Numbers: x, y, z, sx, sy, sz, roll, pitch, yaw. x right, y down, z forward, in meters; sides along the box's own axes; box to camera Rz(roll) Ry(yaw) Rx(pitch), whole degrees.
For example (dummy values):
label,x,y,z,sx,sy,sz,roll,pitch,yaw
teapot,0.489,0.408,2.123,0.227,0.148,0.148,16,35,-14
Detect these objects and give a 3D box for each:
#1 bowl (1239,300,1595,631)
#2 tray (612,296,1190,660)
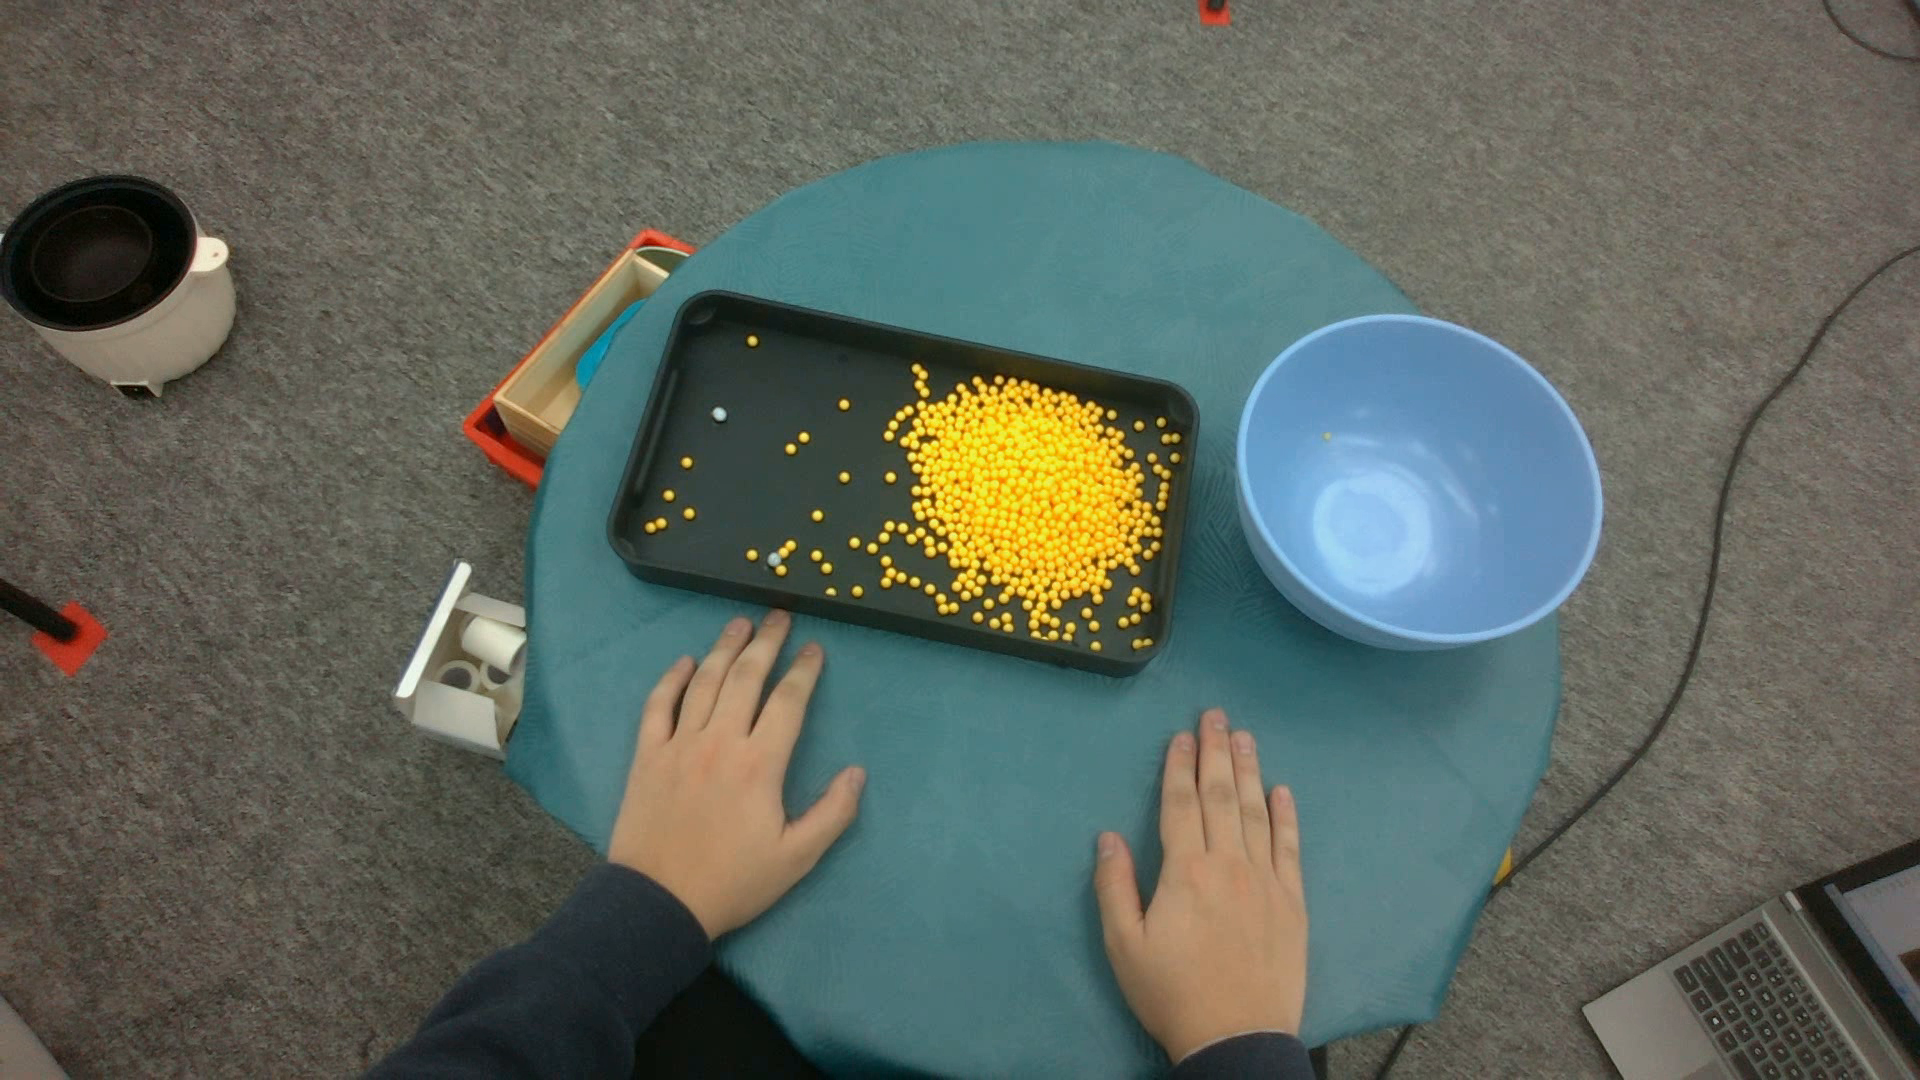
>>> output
label,x,y,z,sx,sy,sz,roll,pitch,yaw
bowl,0.247,-0.029,0.791,0.196,0.095,0.197,2,65,-4
tray,-0.029,-0.038,0.814,0.318,0.037,0.185,9,66,0
